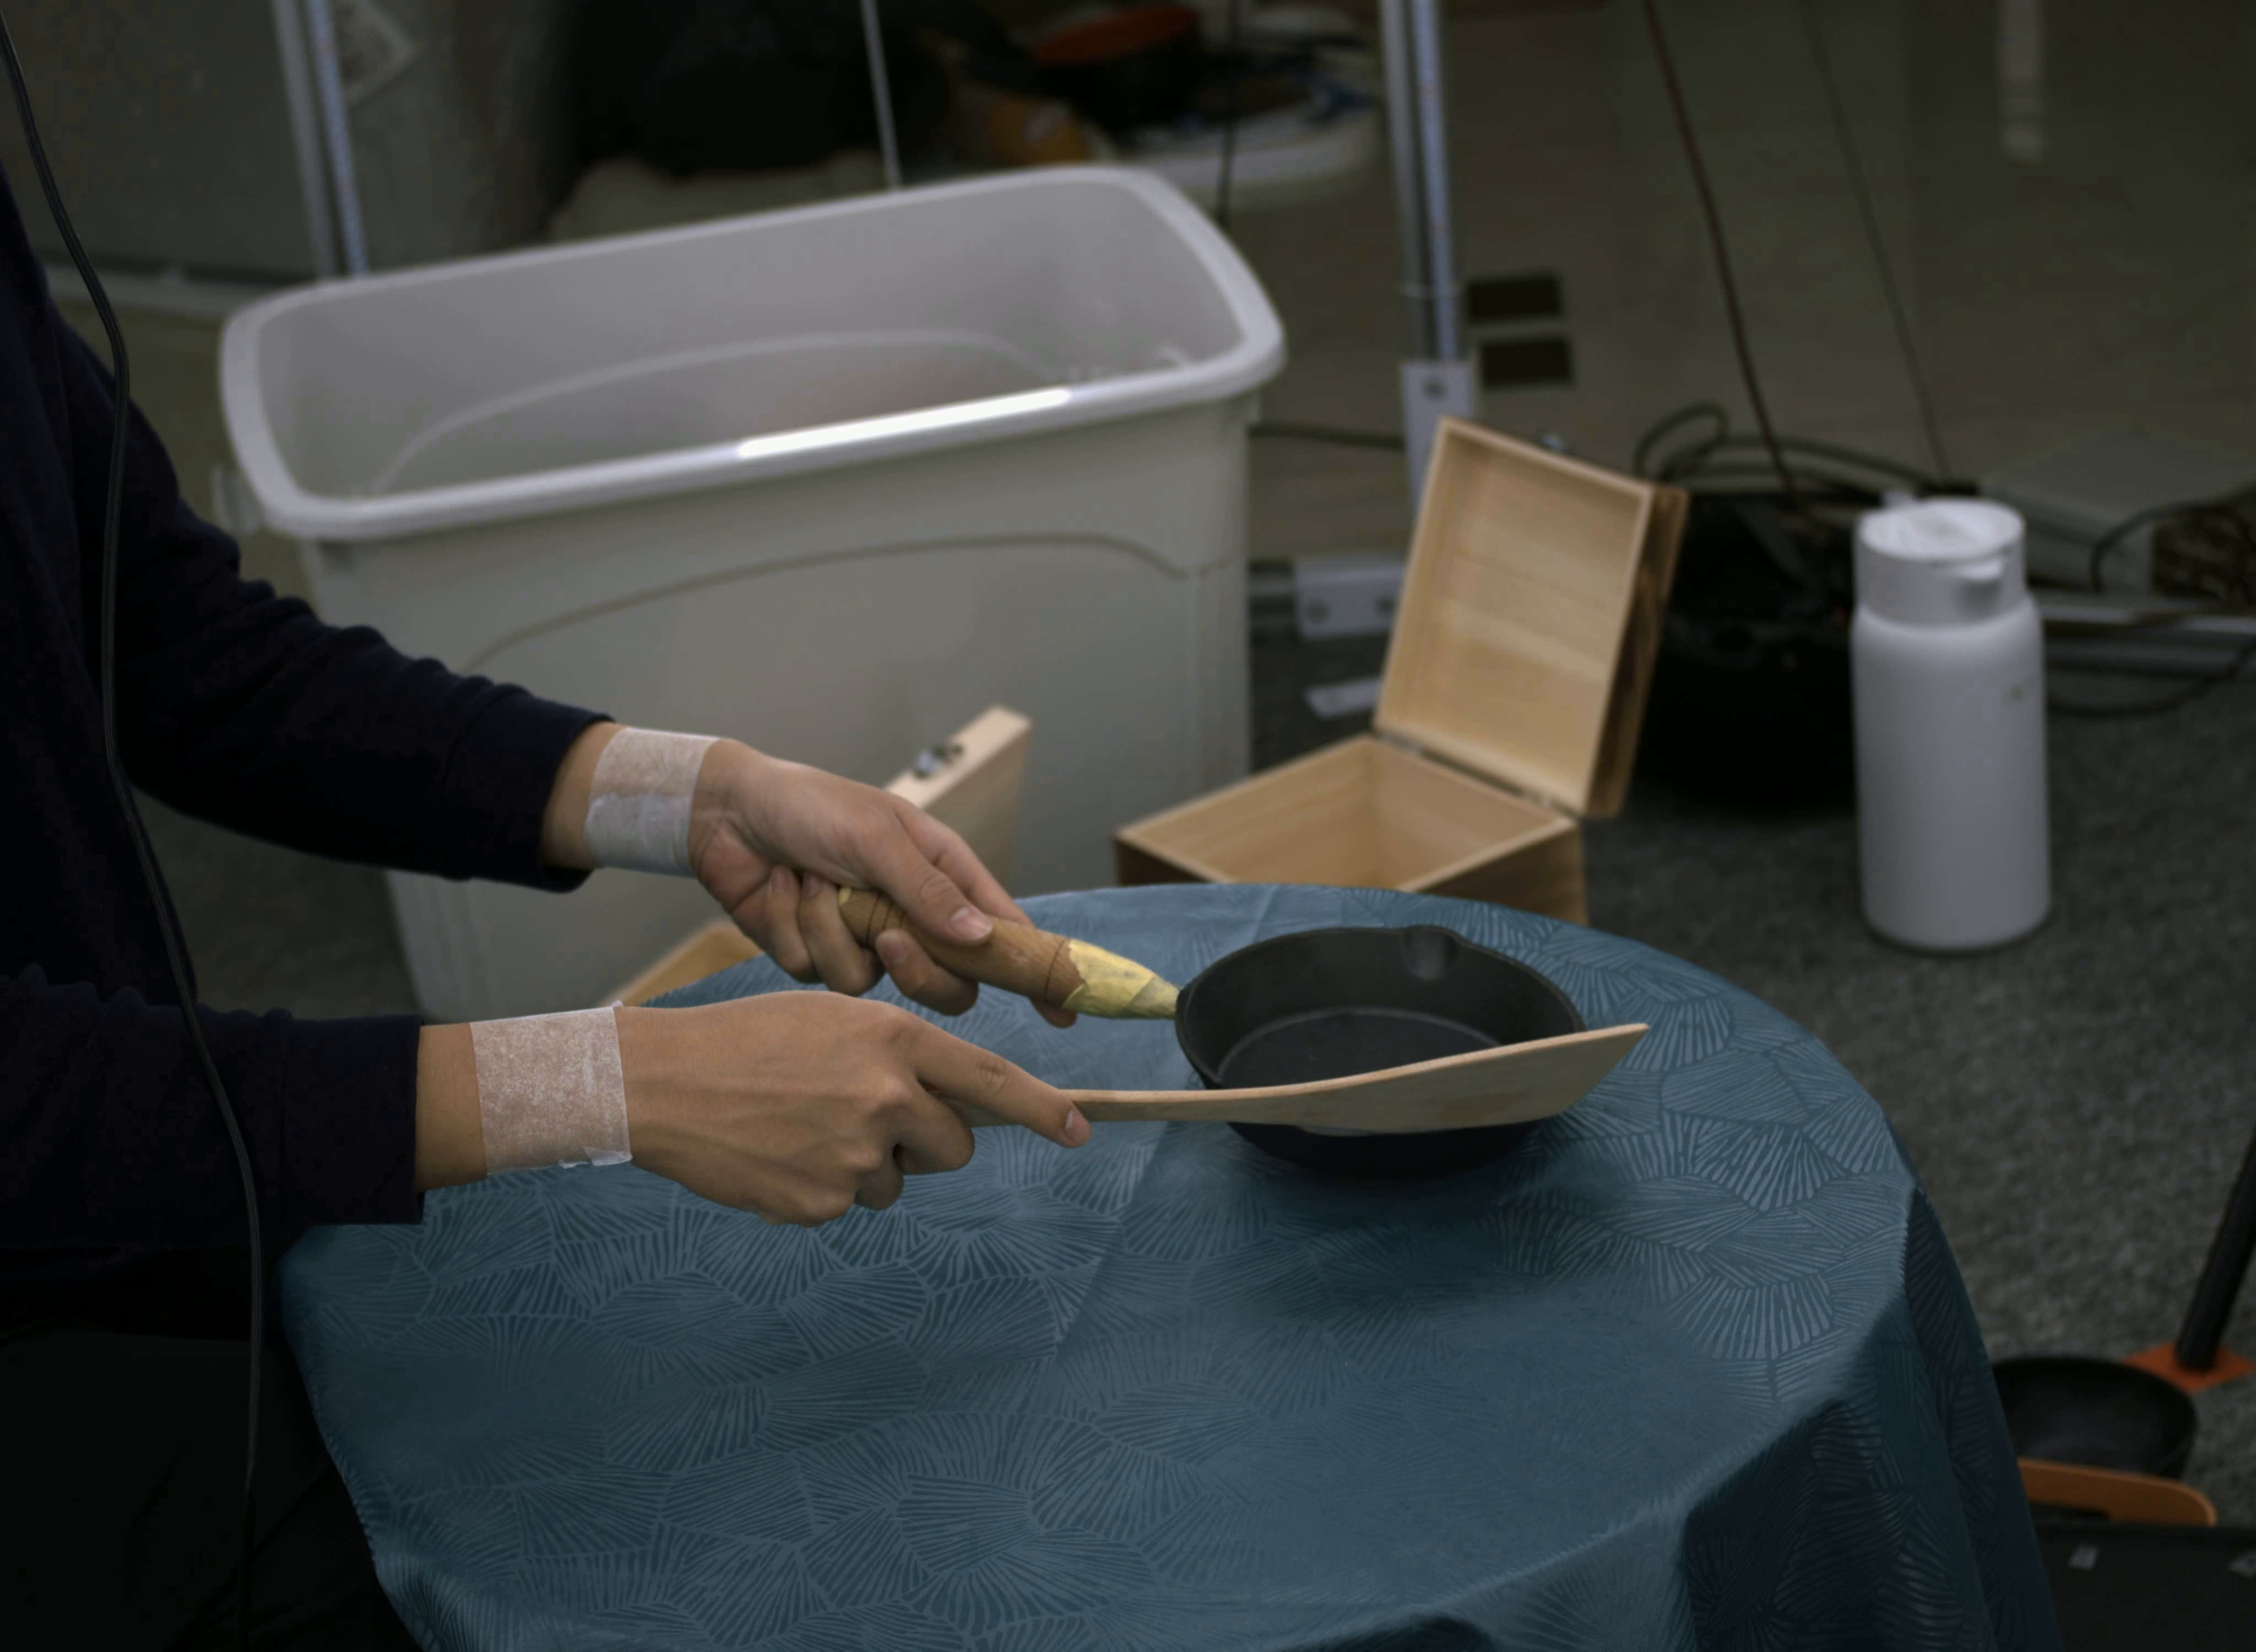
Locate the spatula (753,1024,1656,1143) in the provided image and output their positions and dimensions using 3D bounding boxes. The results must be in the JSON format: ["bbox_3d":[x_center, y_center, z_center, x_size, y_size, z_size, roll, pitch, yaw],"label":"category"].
[{"bbox_3d":[0.027,0.098,2.047,0.327,0.081,0.016,-2,66,-12],"label":"spatula"}]

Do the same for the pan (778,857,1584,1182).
[{"bbox_3d":[0.017,0.067,2.189,0.323,0.050,0.166,12,30,16],"label":"pan"}]
